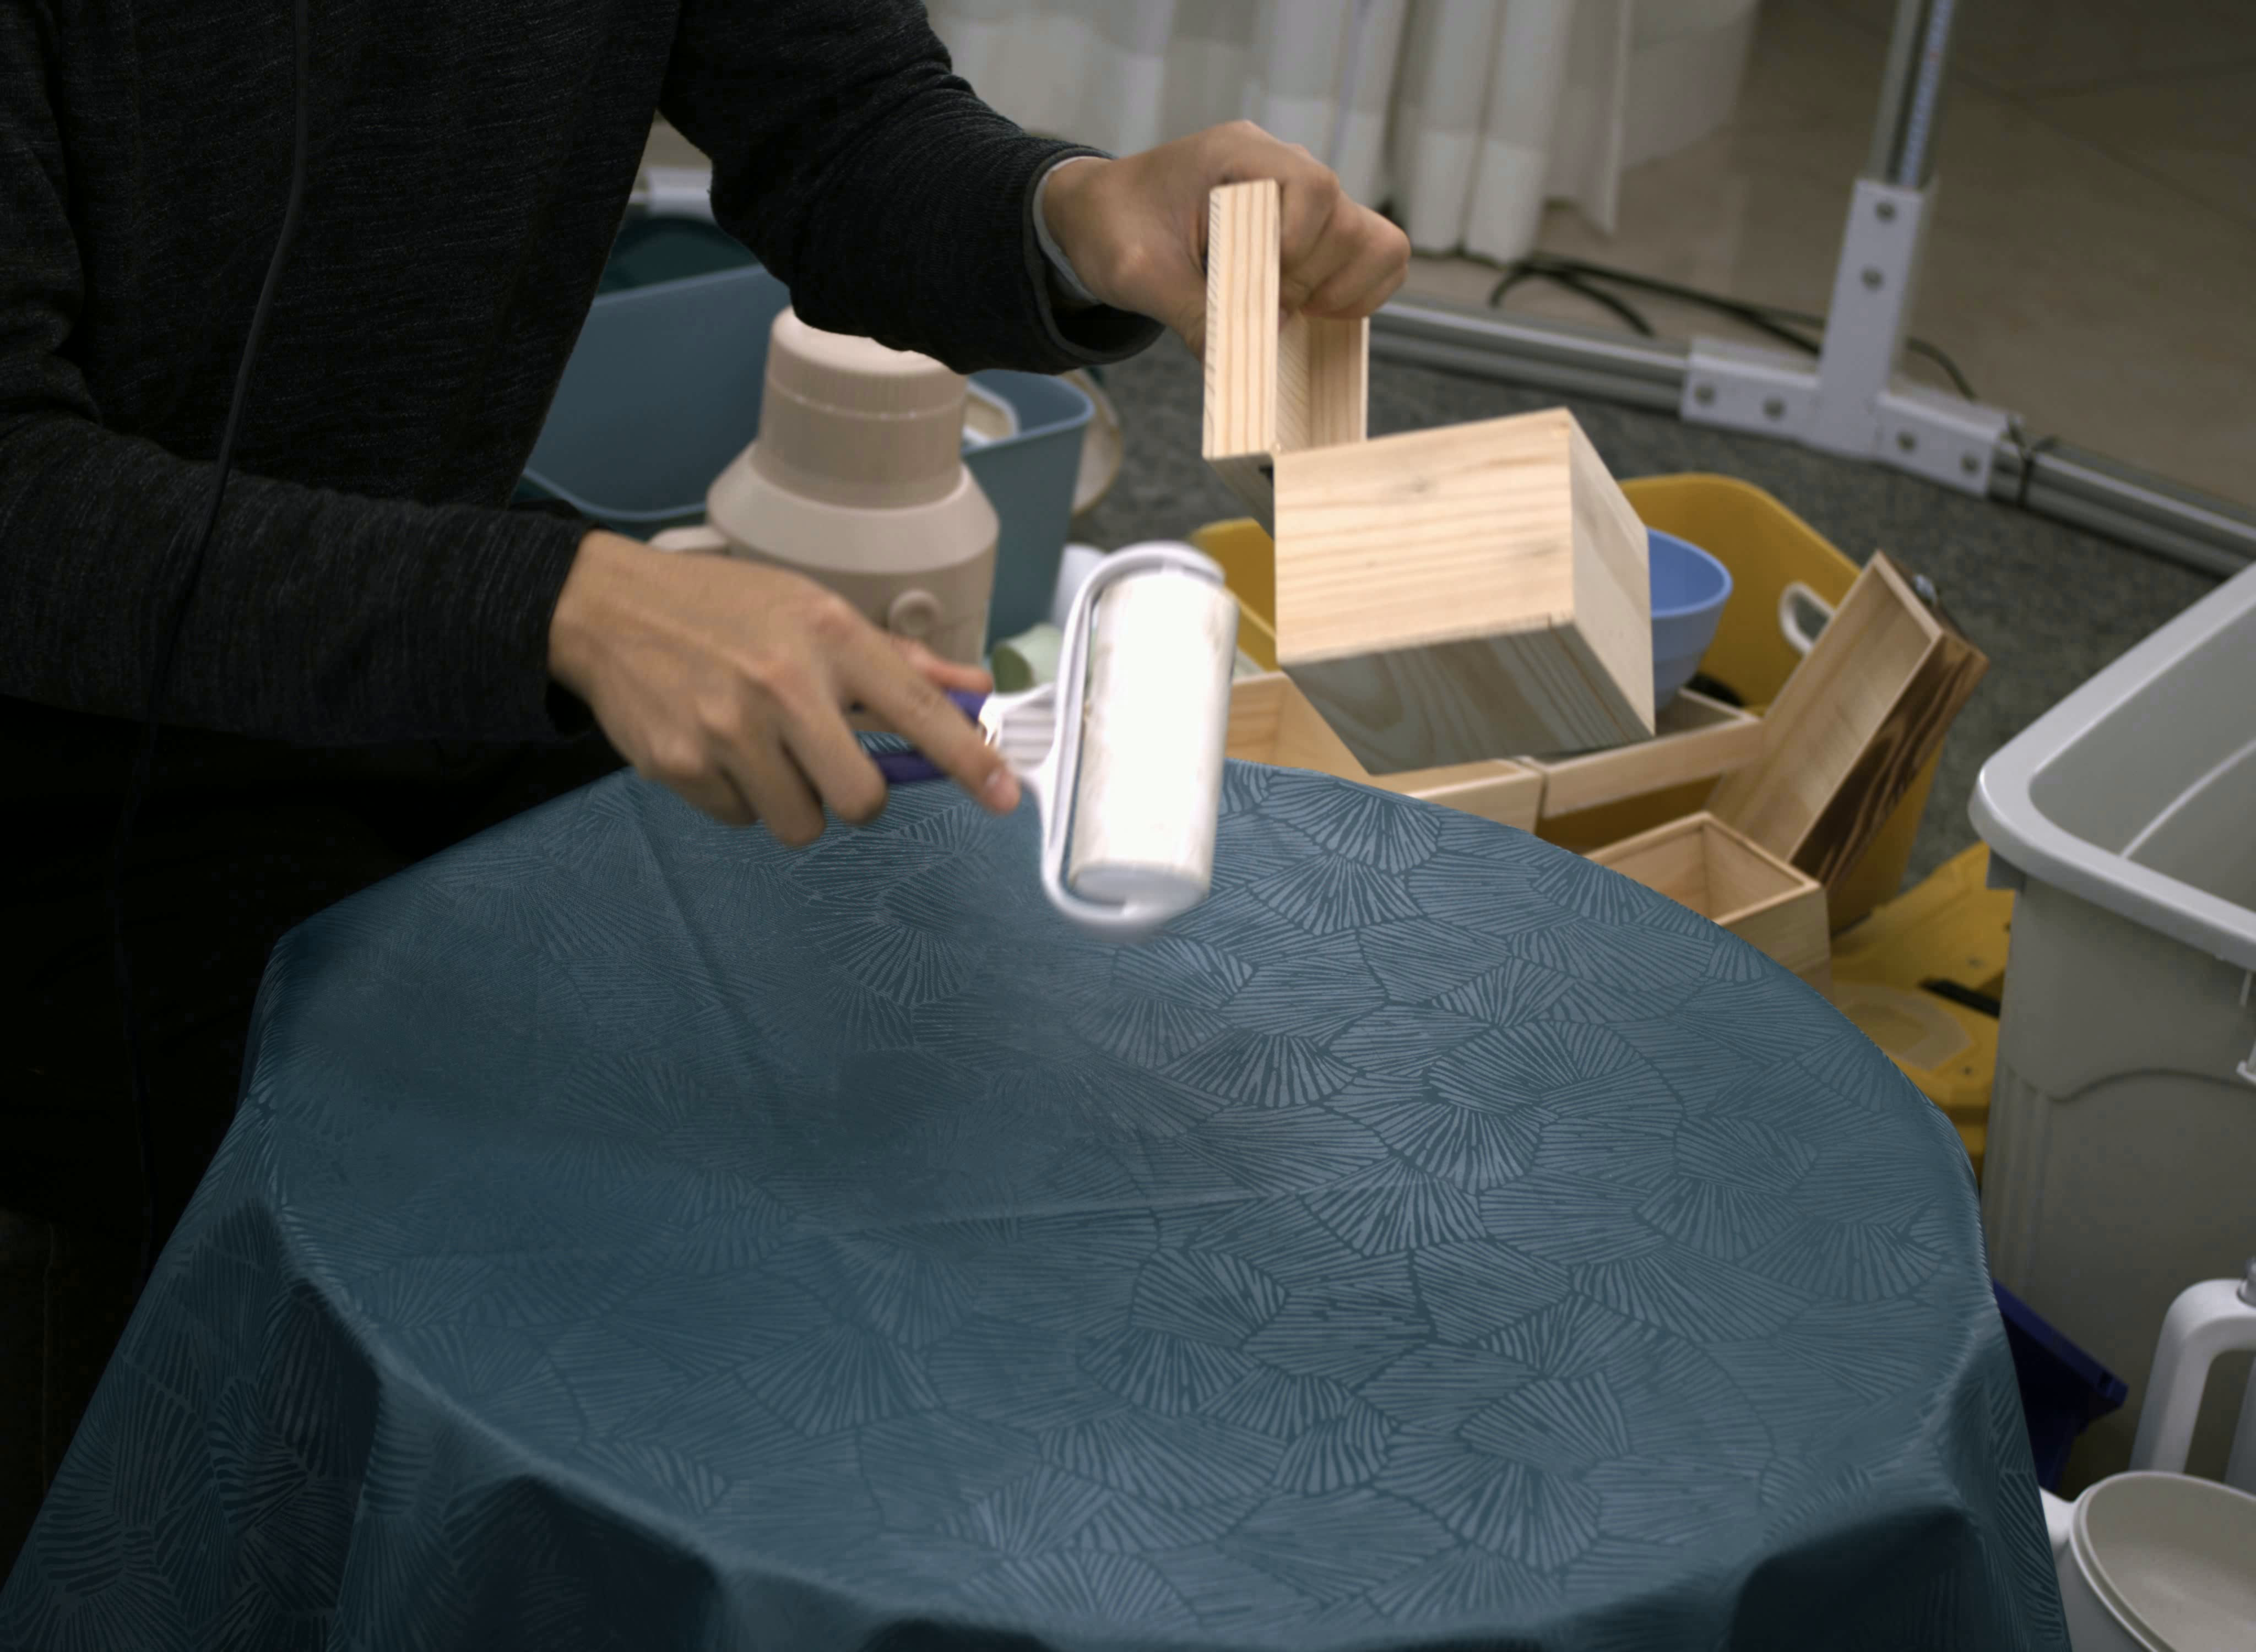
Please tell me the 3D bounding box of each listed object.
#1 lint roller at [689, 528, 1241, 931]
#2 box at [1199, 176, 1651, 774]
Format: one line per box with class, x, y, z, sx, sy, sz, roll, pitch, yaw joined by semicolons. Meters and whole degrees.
lint roller;-0.055;-0.038;1.731;0.180;0.050;0.134;6;71;5
box;0.102;-0.125;1.787;0.134;0.102;0.186;-9;64;18
